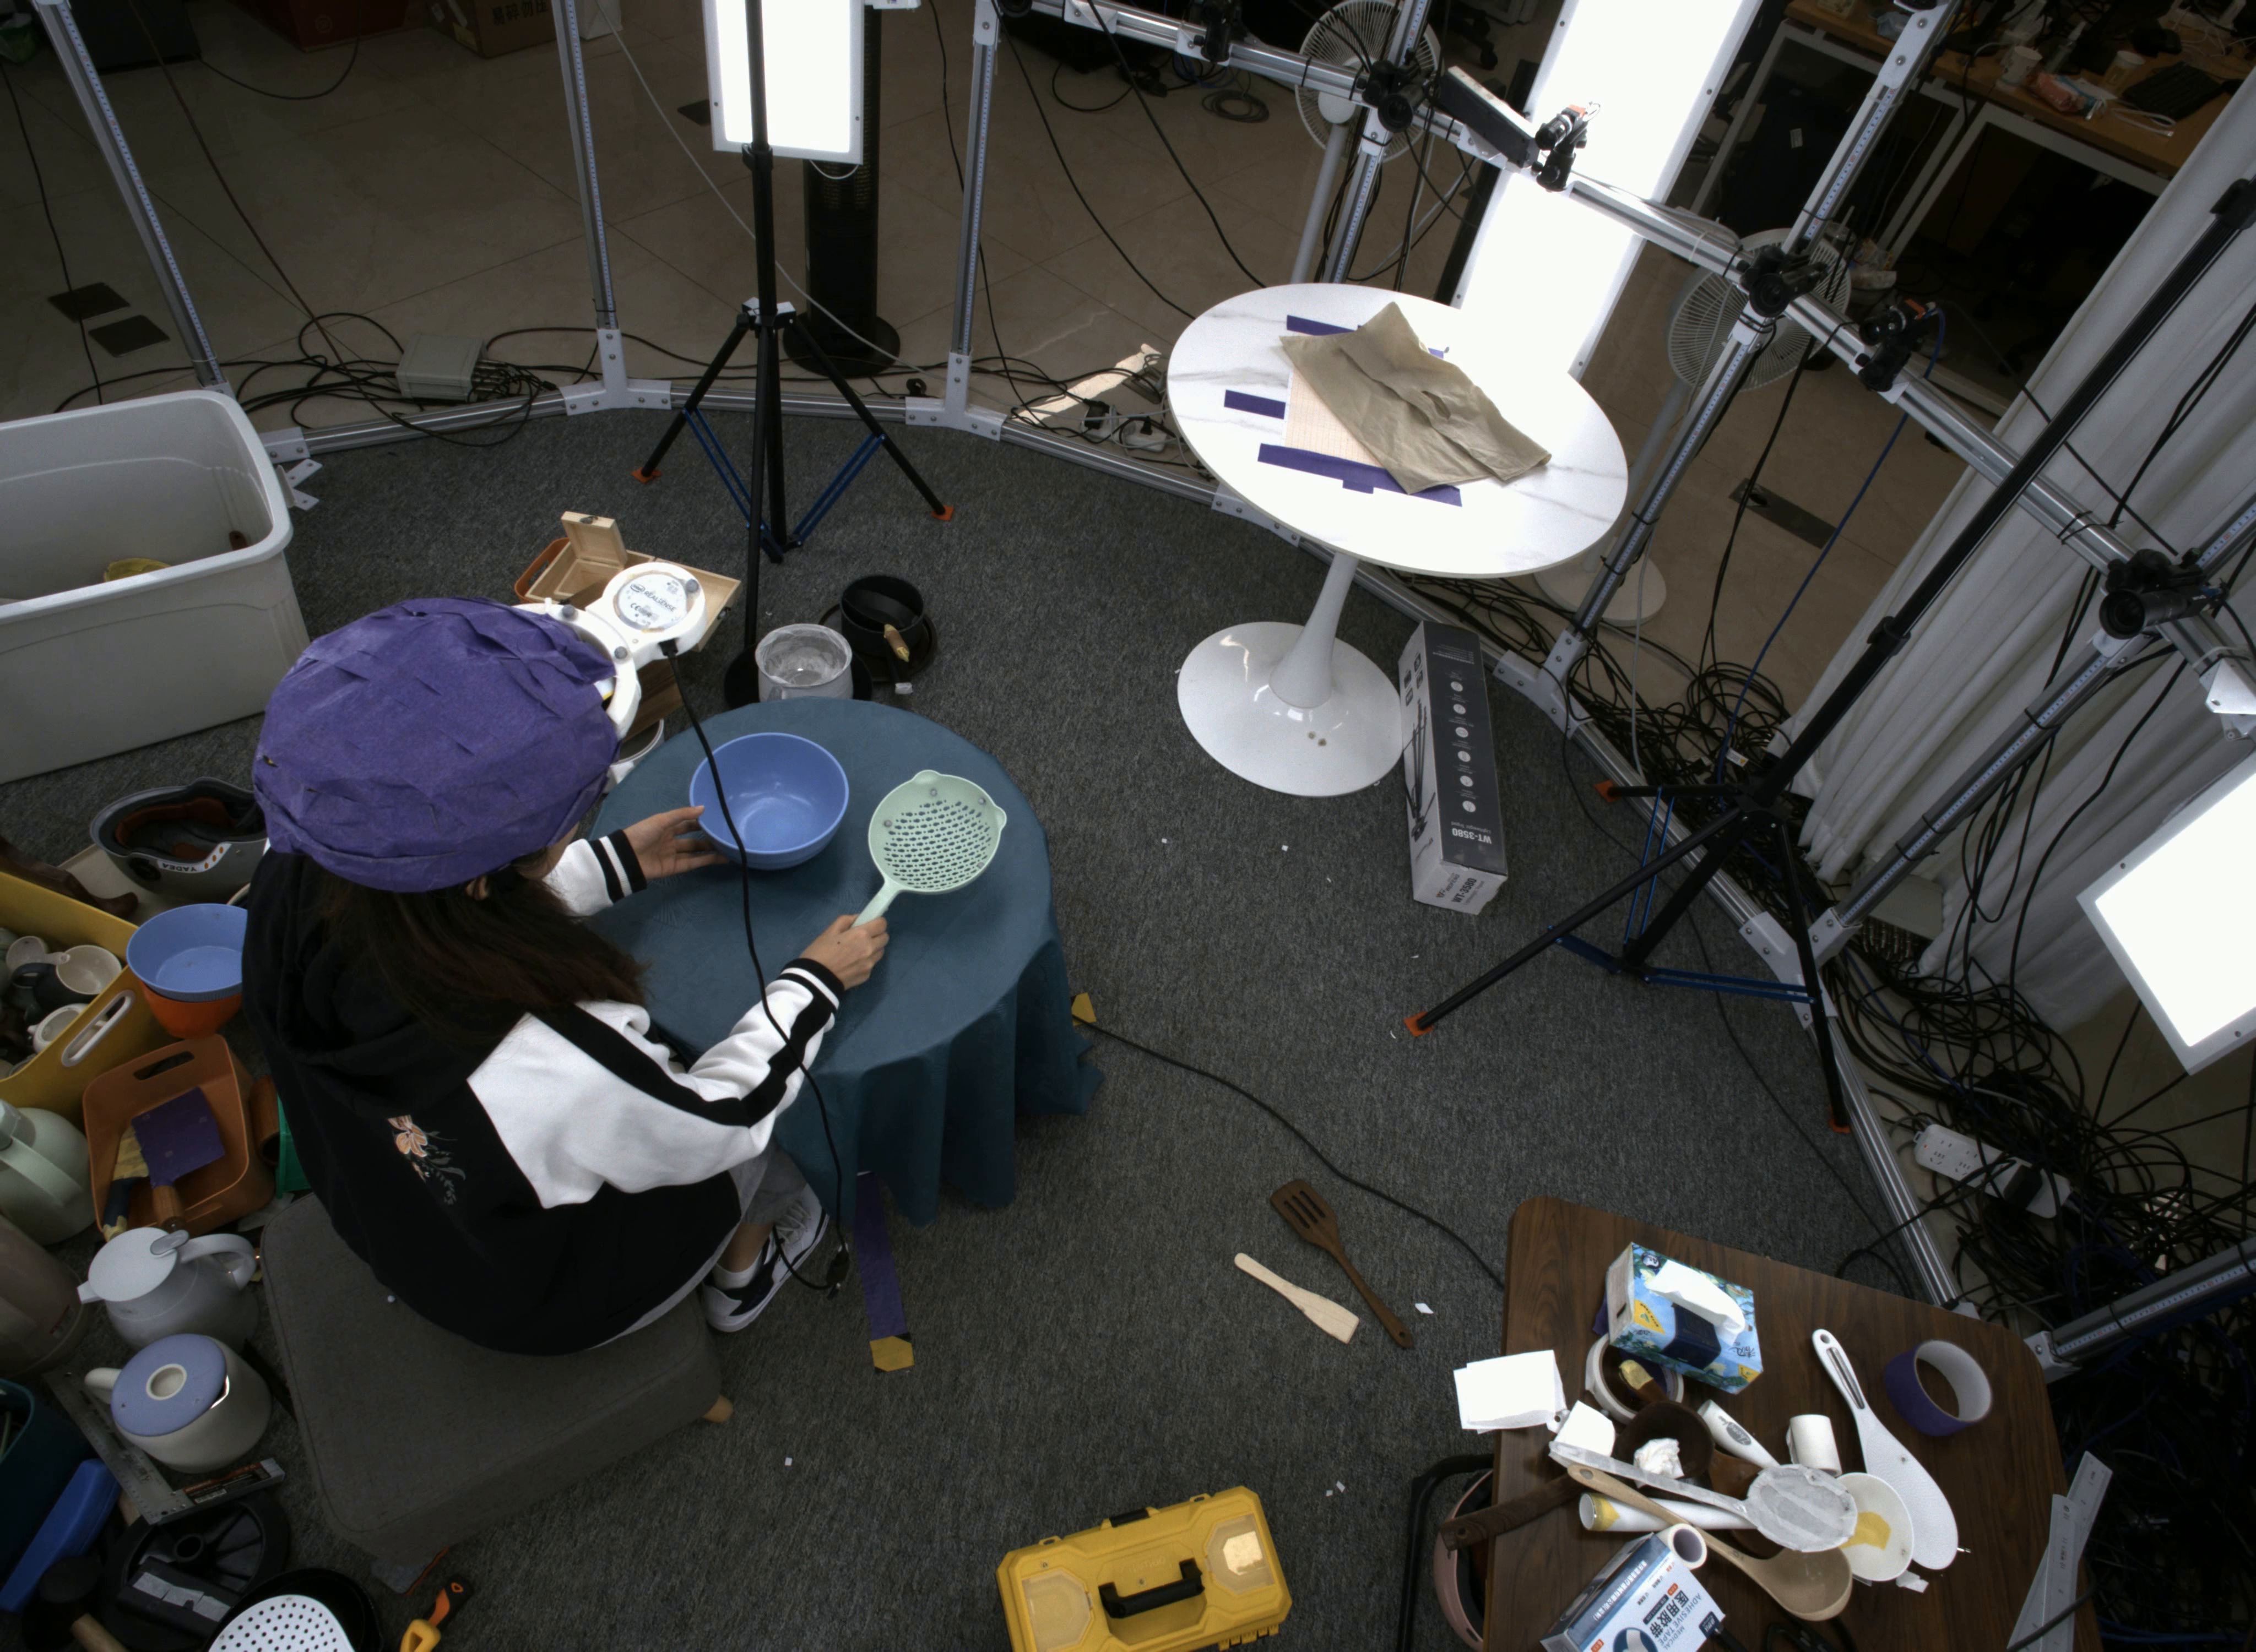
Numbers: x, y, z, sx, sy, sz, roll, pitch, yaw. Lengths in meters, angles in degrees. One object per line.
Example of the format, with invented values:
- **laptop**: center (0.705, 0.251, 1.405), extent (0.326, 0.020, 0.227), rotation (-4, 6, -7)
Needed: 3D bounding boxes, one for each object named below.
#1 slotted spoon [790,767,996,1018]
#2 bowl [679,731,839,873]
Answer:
- **slotted spoon**: center (-0.308, 0.084, 1.621), extent (0.166, 0.077, 0.358), rotation (29, 58, 14)
- **bowl**: center (-0.470, -0.016, 1.658), extent (0.196, 0.097, 0.193), rotation (8, 53, -9)
